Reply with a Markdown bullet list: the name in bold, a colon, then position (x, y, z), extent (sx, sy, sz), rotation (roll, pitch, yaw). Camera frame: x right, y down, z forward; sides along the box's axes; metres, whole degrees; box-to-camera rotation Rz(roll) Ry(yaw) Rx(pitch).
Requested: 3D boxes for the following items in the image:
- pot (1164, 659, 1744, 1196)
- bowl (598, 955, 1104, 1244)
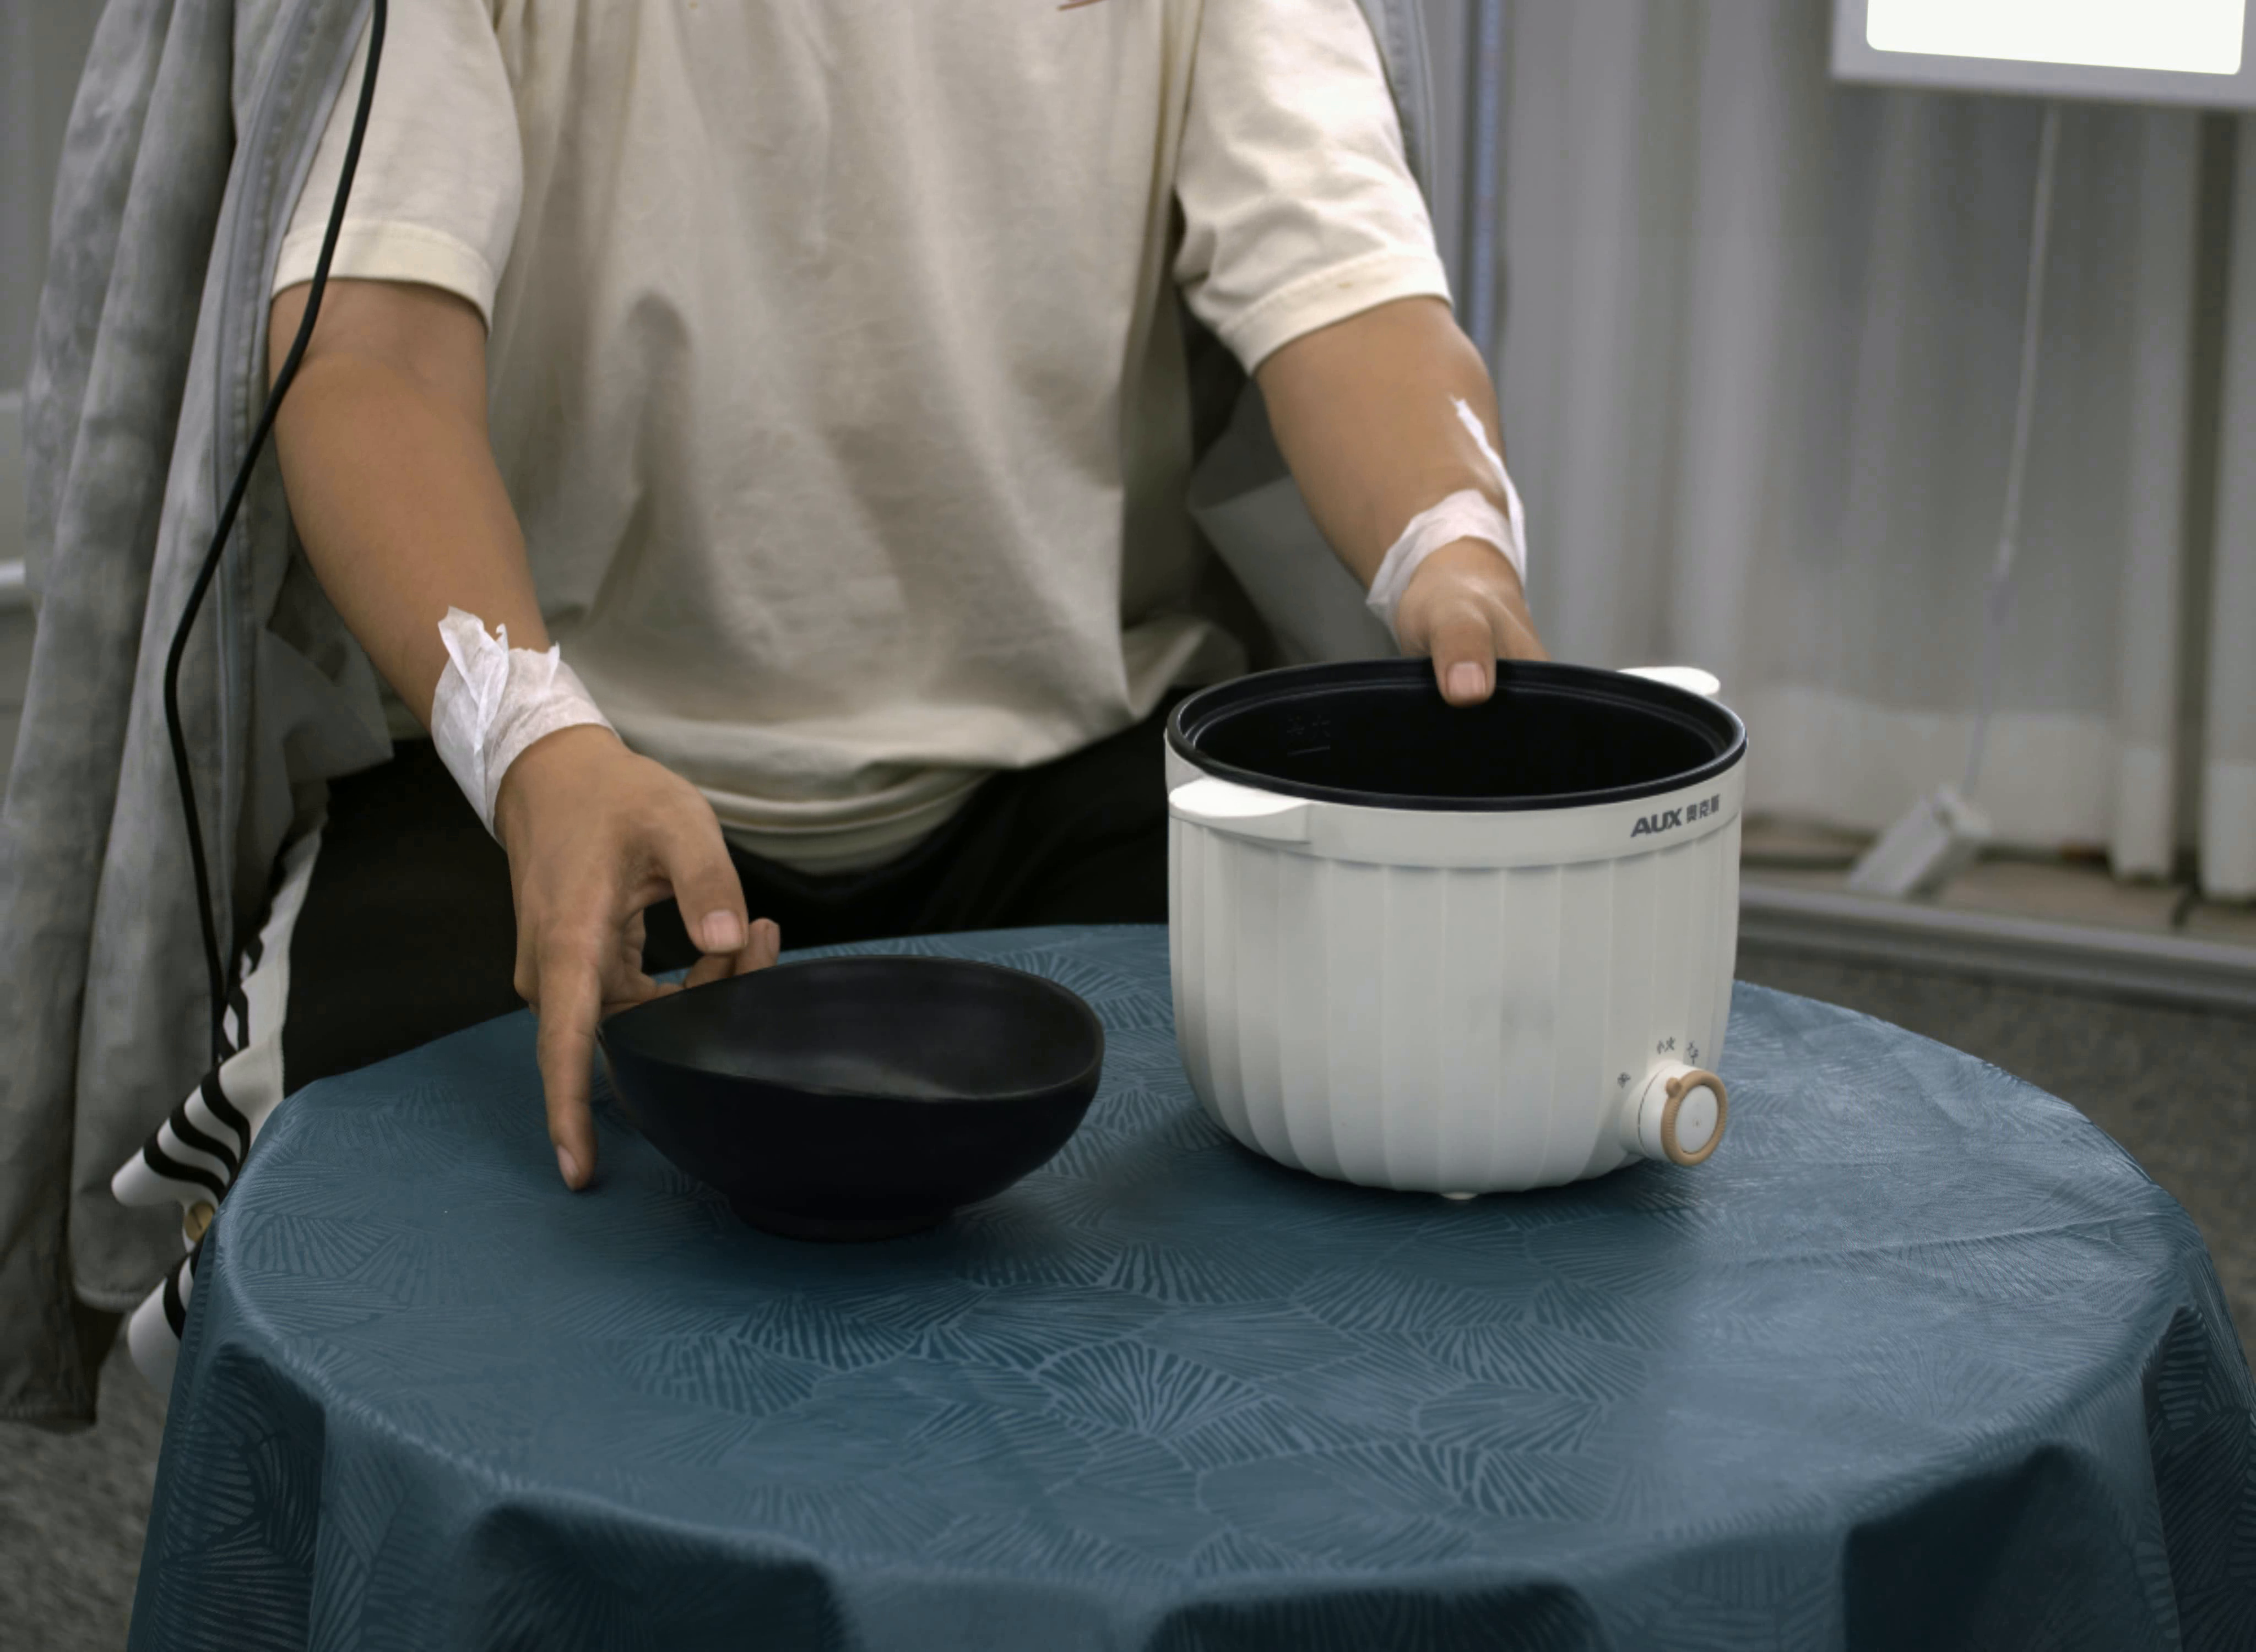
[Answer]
- **pot**: position (0.107, 0.033, 1.658), extent (0.188, 0.144, 0.241), rotation (11, 19, 42)
- **bowl**: position (-0.086, 0.086, 1.596), extent (0.168, 0.067, 0.138), rotation (11, 17, 35)
